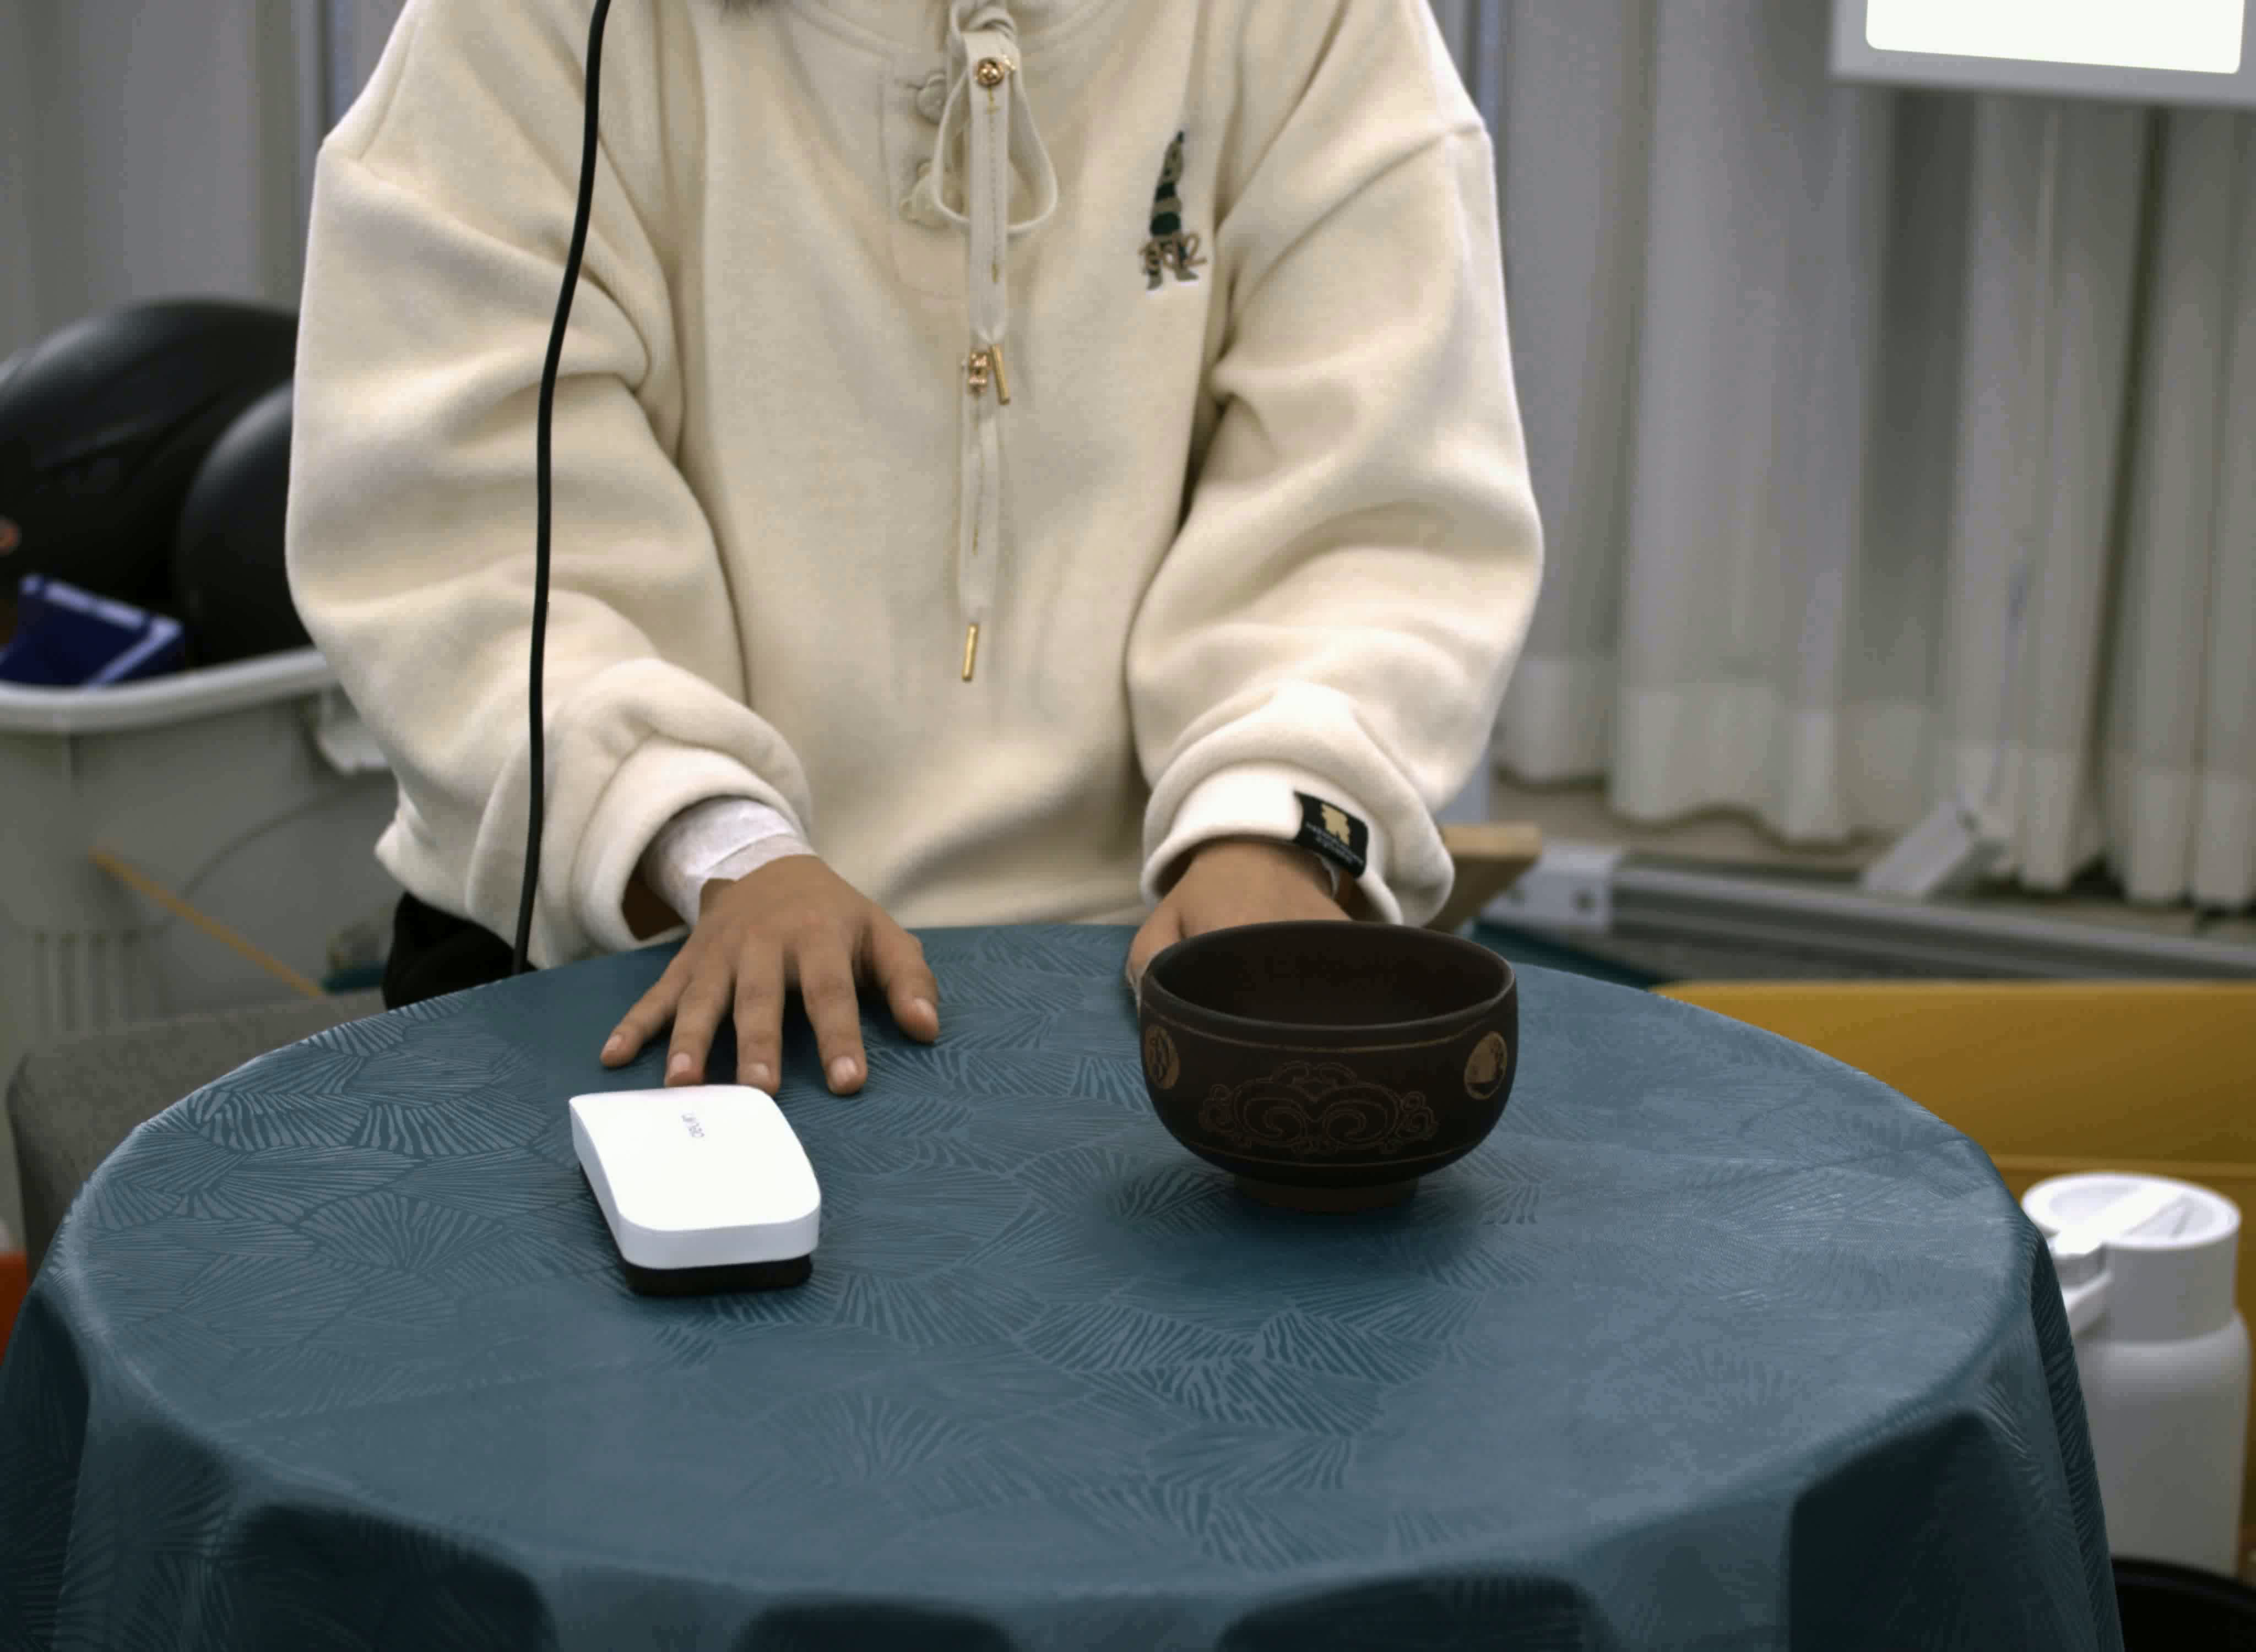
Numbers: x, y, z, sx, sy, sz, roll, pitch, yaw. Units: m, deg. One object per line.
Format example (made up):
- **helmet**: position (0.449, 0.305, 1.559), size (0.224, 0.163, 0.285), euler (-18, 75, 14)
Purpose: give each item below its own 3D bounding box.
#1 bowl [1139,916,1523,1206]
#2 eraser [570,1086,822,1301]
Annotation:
- **bowl**: position (0.062, 0.075, 1.620), size (0.117, 0.070, 0.117), euler (2, 14, 0)
- **eraser**: position (-0.130, 0.106, 1.584), size (0.063, 0.035, 0.130), euler (-3, 17, -13)
